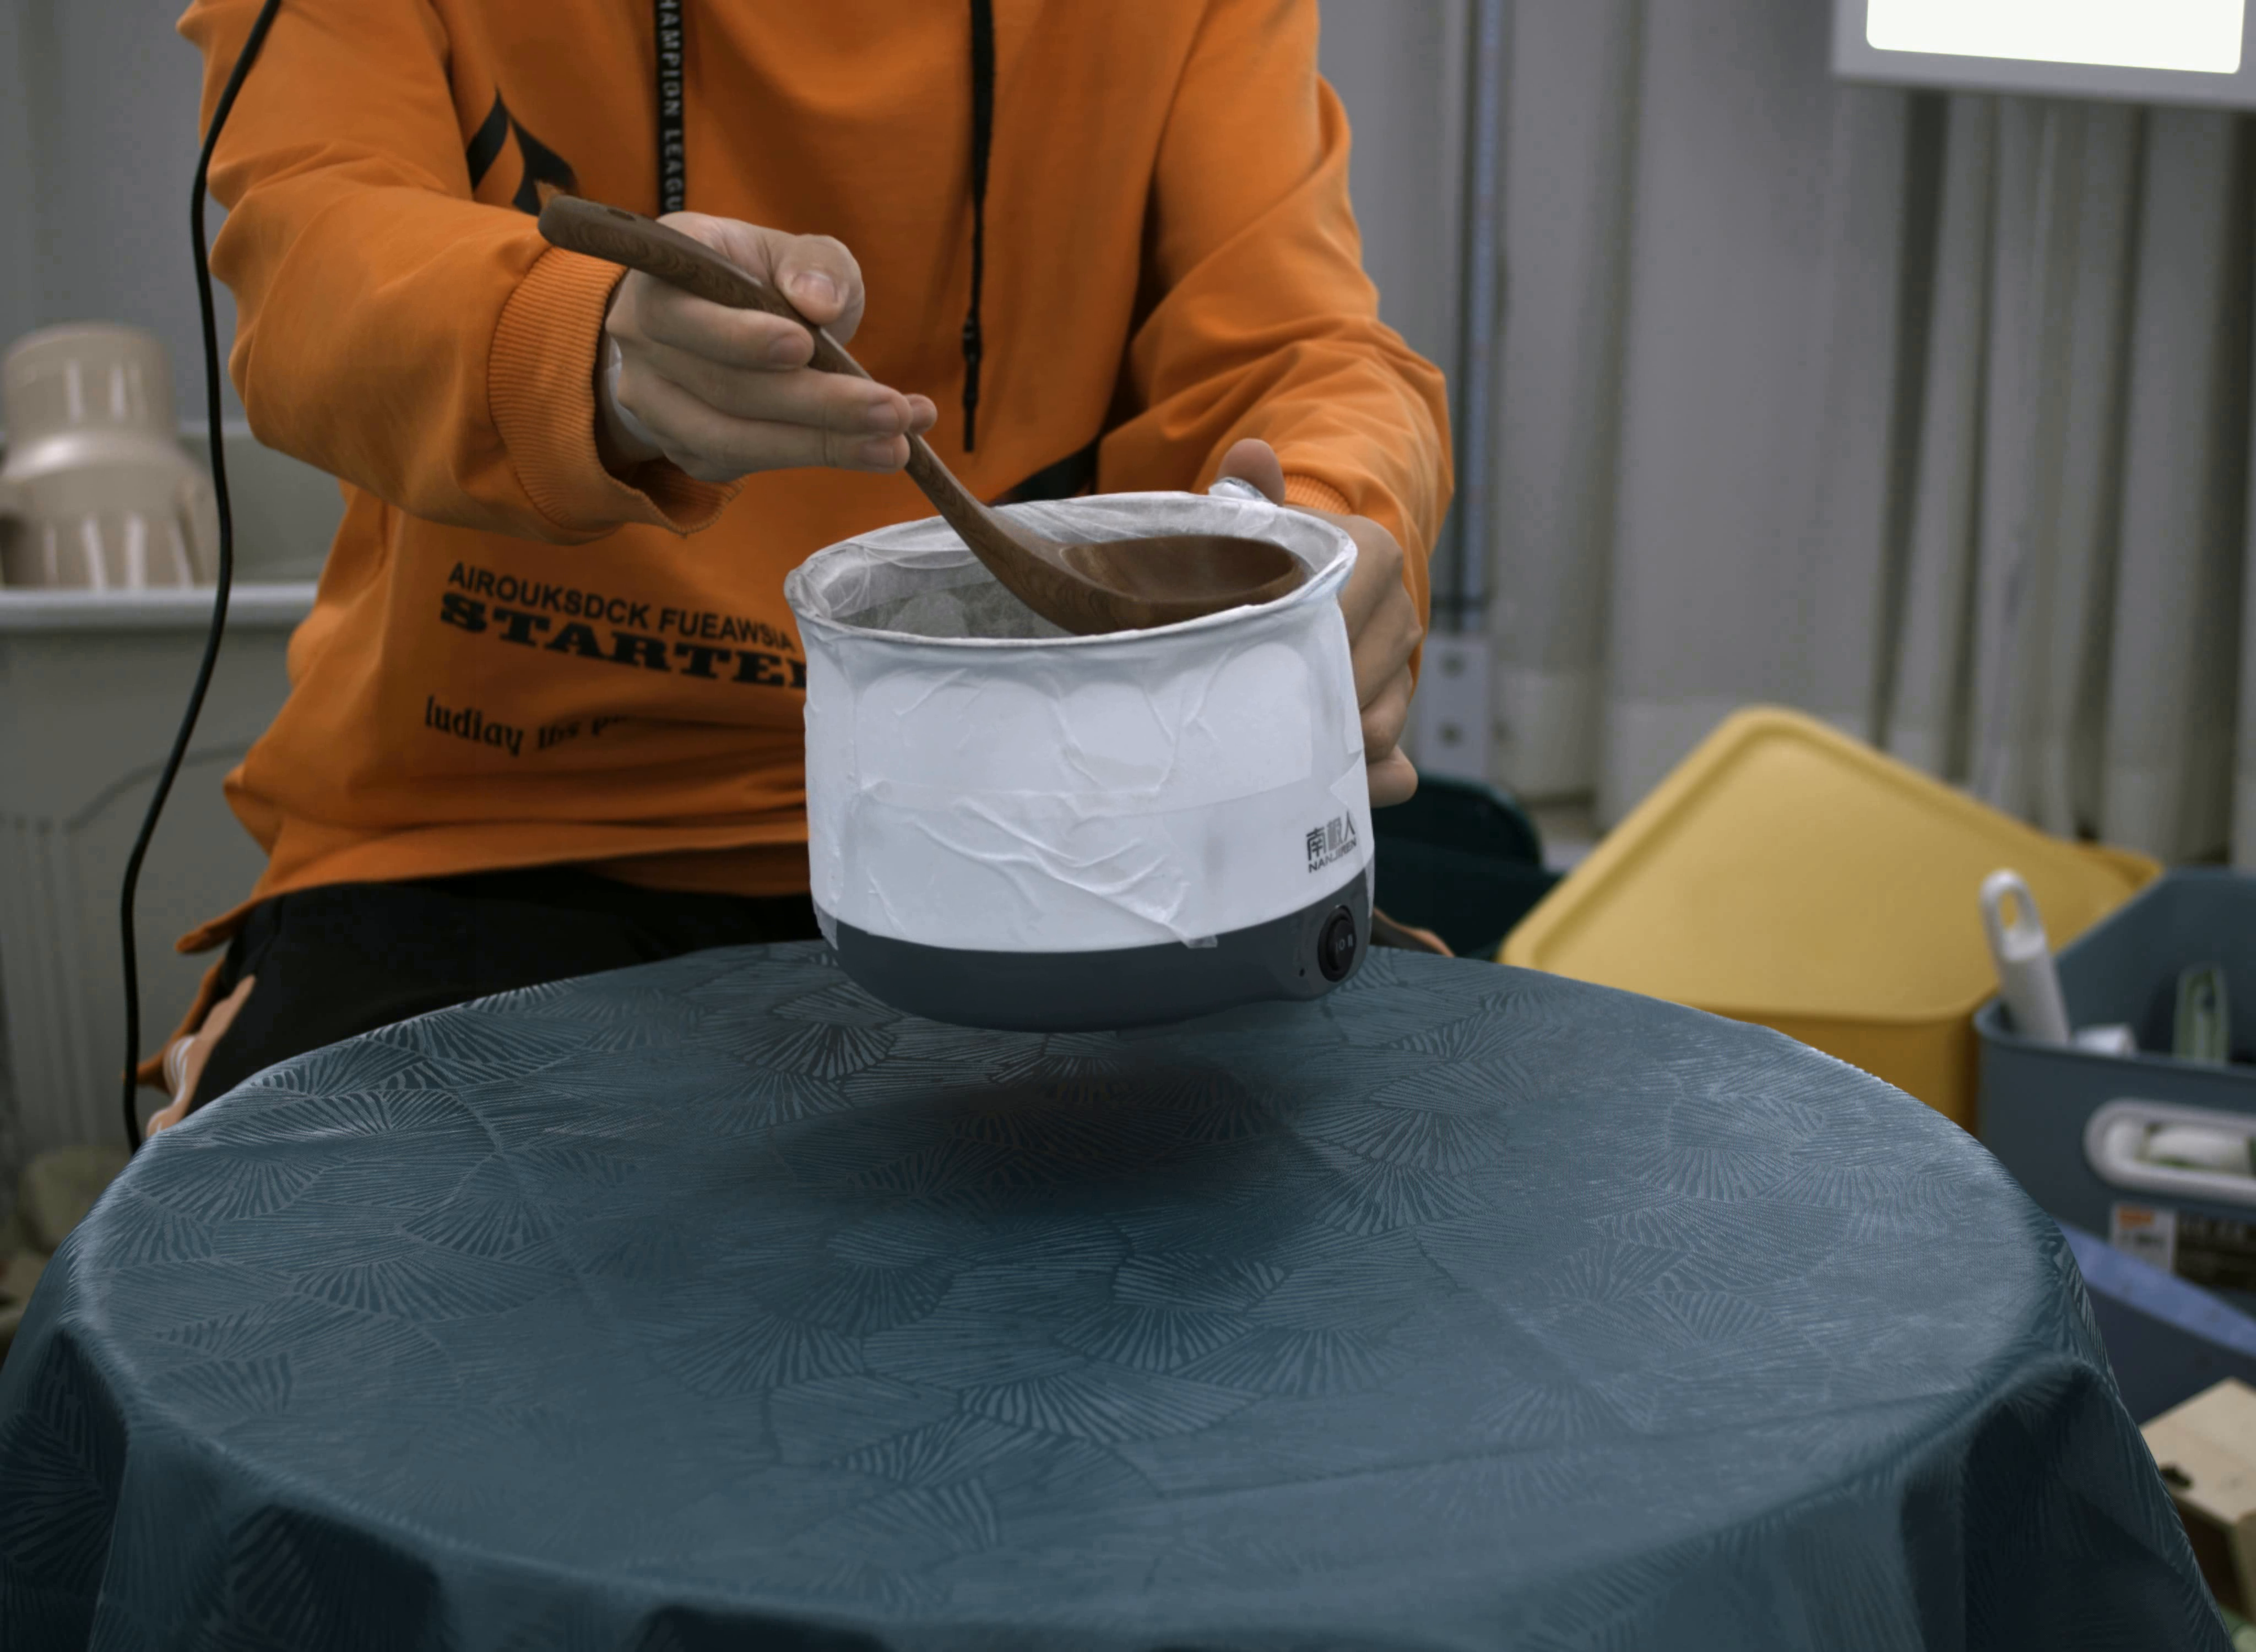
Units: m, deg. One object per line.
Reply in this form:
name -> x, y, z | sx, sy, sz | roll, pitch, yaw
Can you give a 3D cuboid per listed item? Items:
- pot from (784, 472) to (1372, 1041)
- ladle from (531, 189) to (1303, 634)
pot -> 0.000, -0.028, 1.656 | 0.176, 0.138, 0.234 | 7, 20, 28
ladle -> -0.060, -0.129, 1.581 | 0.262, 0.065, 0.076 | 37, 8, -18
